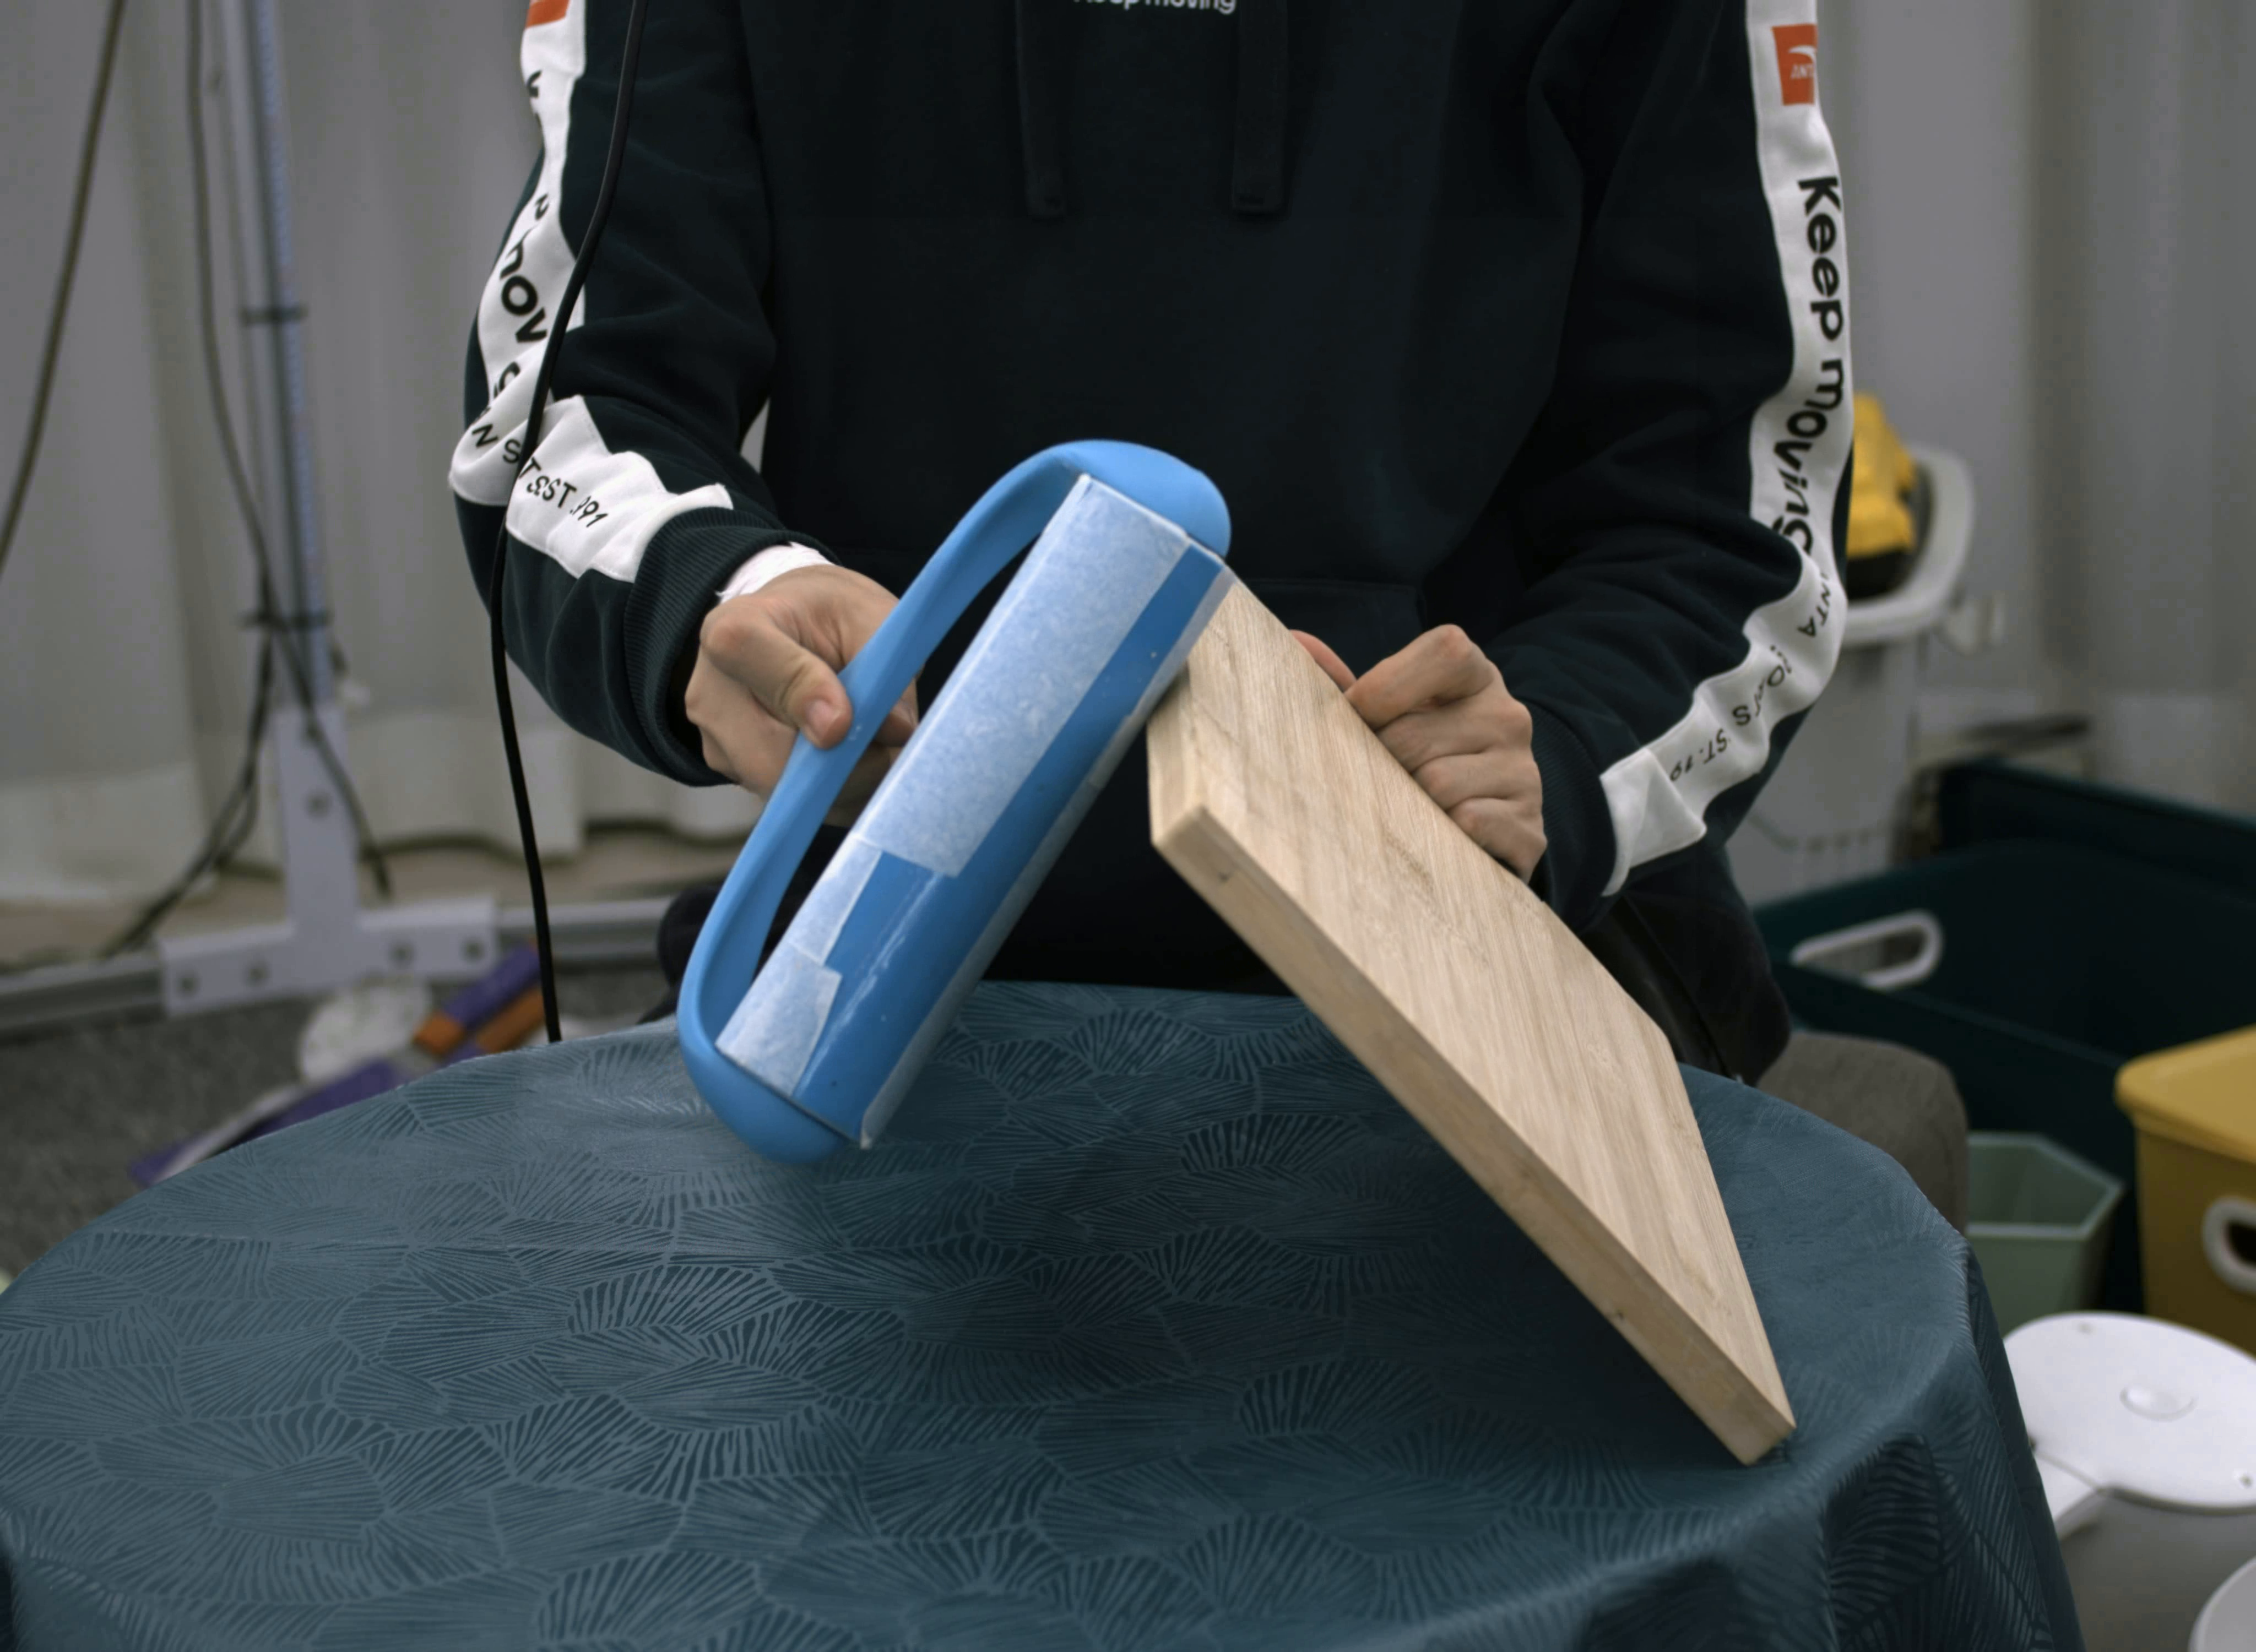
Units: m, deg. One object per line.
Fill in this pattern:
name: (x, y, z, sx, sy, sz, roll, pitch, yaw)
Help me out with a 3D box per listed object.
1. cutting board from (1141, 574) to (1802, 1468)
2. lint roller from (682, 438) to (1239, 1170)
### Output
cutting board: (0.091, 0.037, 1.608, 0.023, 0.249, 0.351, -42, 13, 10)
lint roller: (-0.065, -0.015, 1.589, 0.067, 0.229, 0.181, 32, -4, -24)
